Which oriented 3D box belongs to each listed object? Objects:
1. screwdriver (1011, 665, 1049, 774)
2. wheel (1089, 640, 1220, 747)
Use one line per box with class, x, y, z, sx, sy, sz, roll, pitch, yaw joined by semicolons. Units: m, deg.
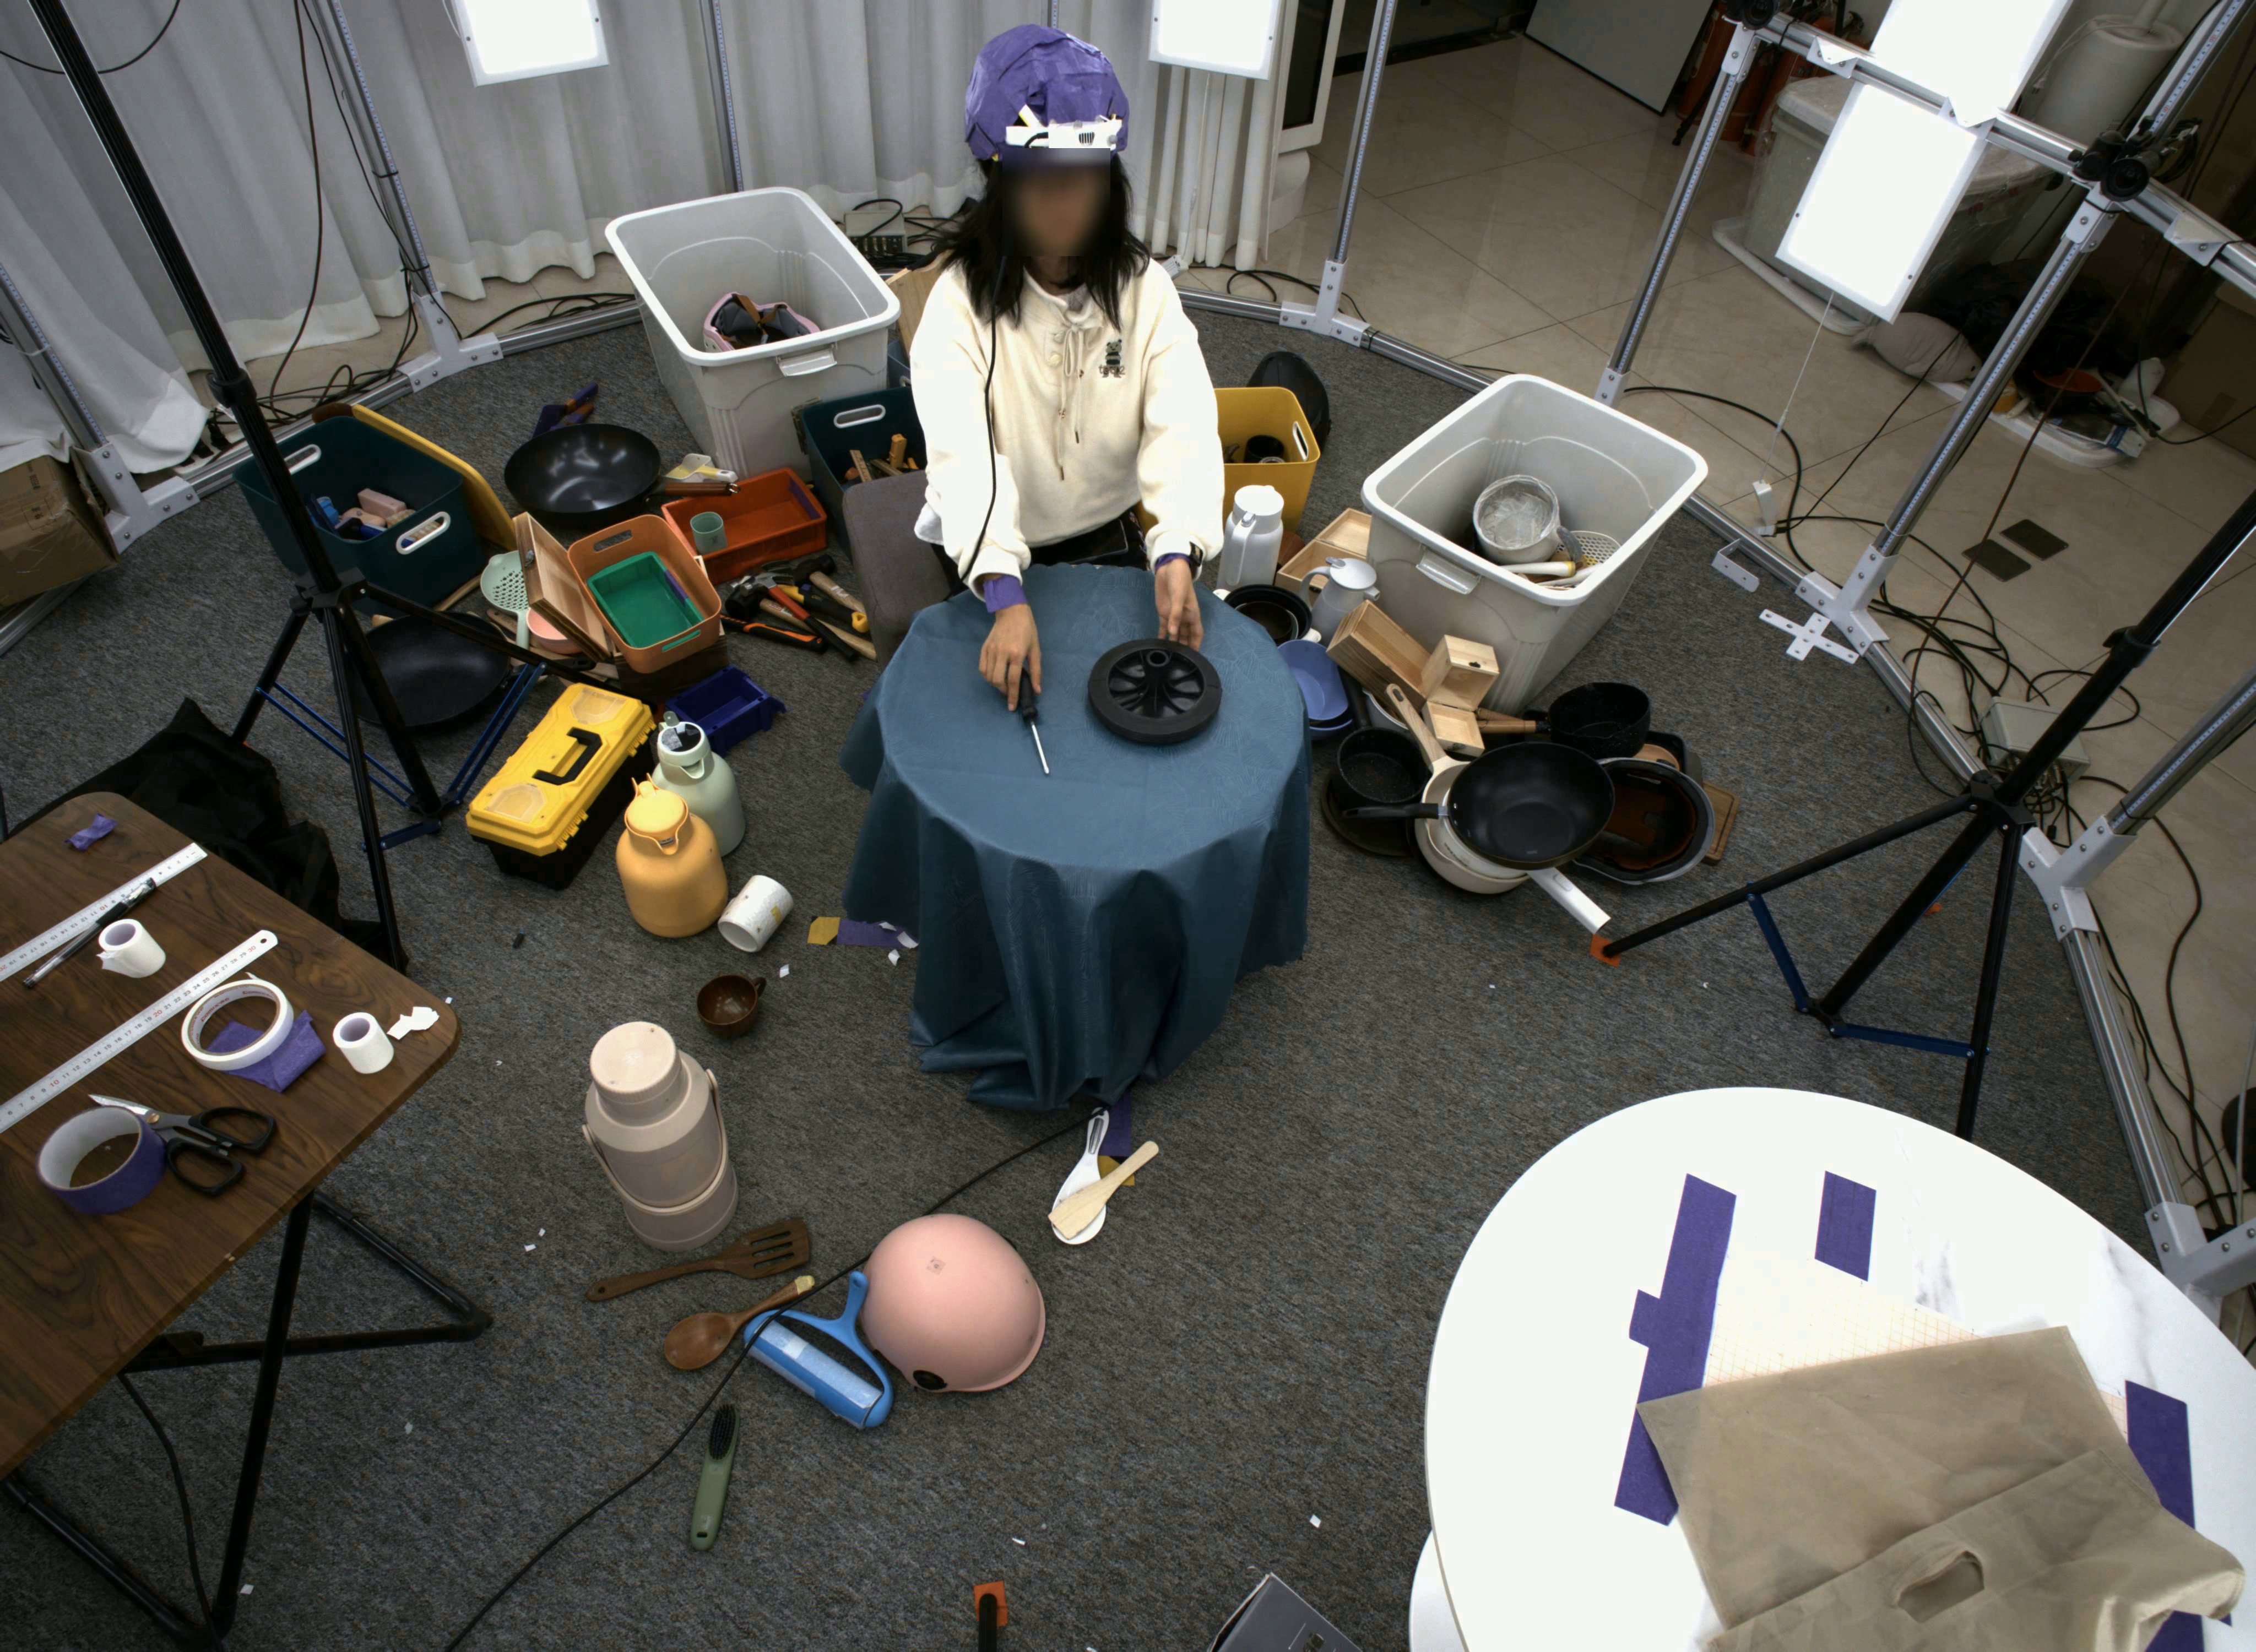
screwdriver;-0.129;-0.149;1.775;0.031;0.031;0.201;-11;52;-14
wheel;0.038;-0.202;1.800;0.189;0.077;0.192;32;58;22
